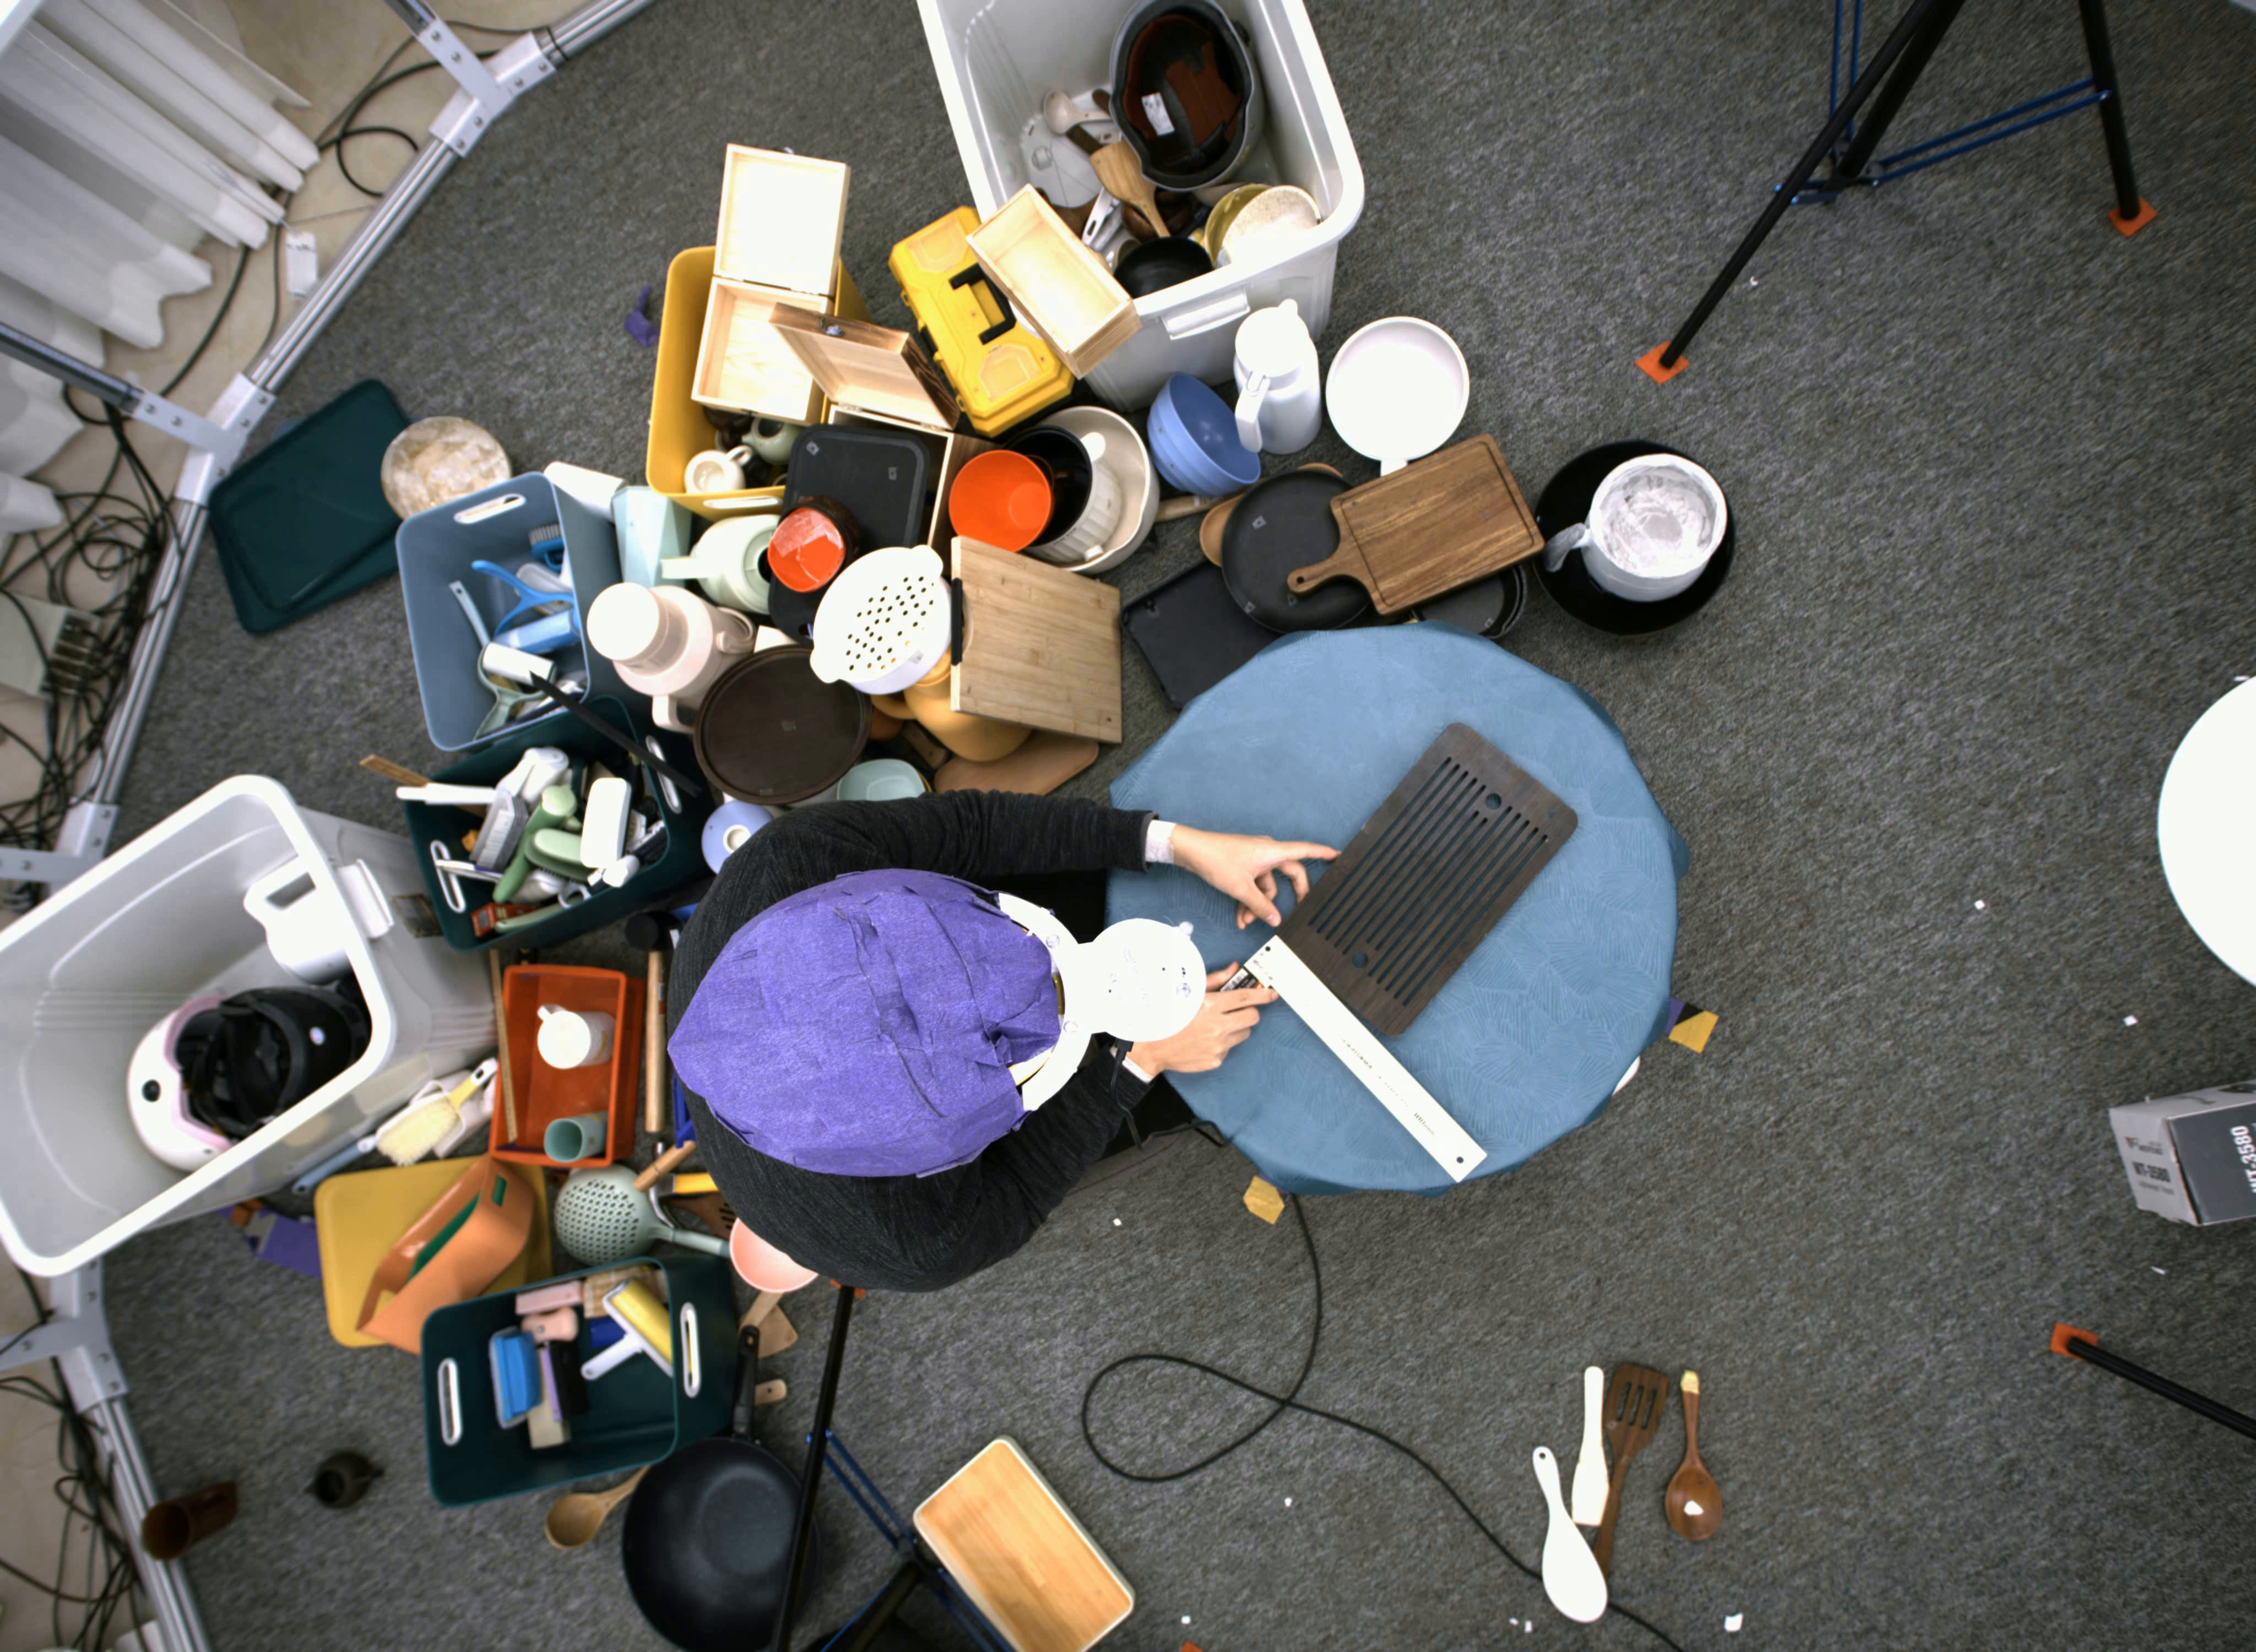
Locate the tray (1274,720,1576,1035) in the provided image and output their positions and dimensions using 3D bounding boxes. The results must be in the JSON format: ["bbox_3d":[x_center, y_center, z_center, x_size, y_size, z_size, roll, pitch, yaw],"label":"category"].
[{"bbox_3d":[0.309,0.052,1.443,0.169,0.018,0.307,40,95,8],"label":"tray"}]

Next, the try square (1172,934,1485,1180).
[{"bbox_3d":[0.205,0.272,1.438,0.153,0.016,0.311,-45,79,7],"label":"try square"}]
